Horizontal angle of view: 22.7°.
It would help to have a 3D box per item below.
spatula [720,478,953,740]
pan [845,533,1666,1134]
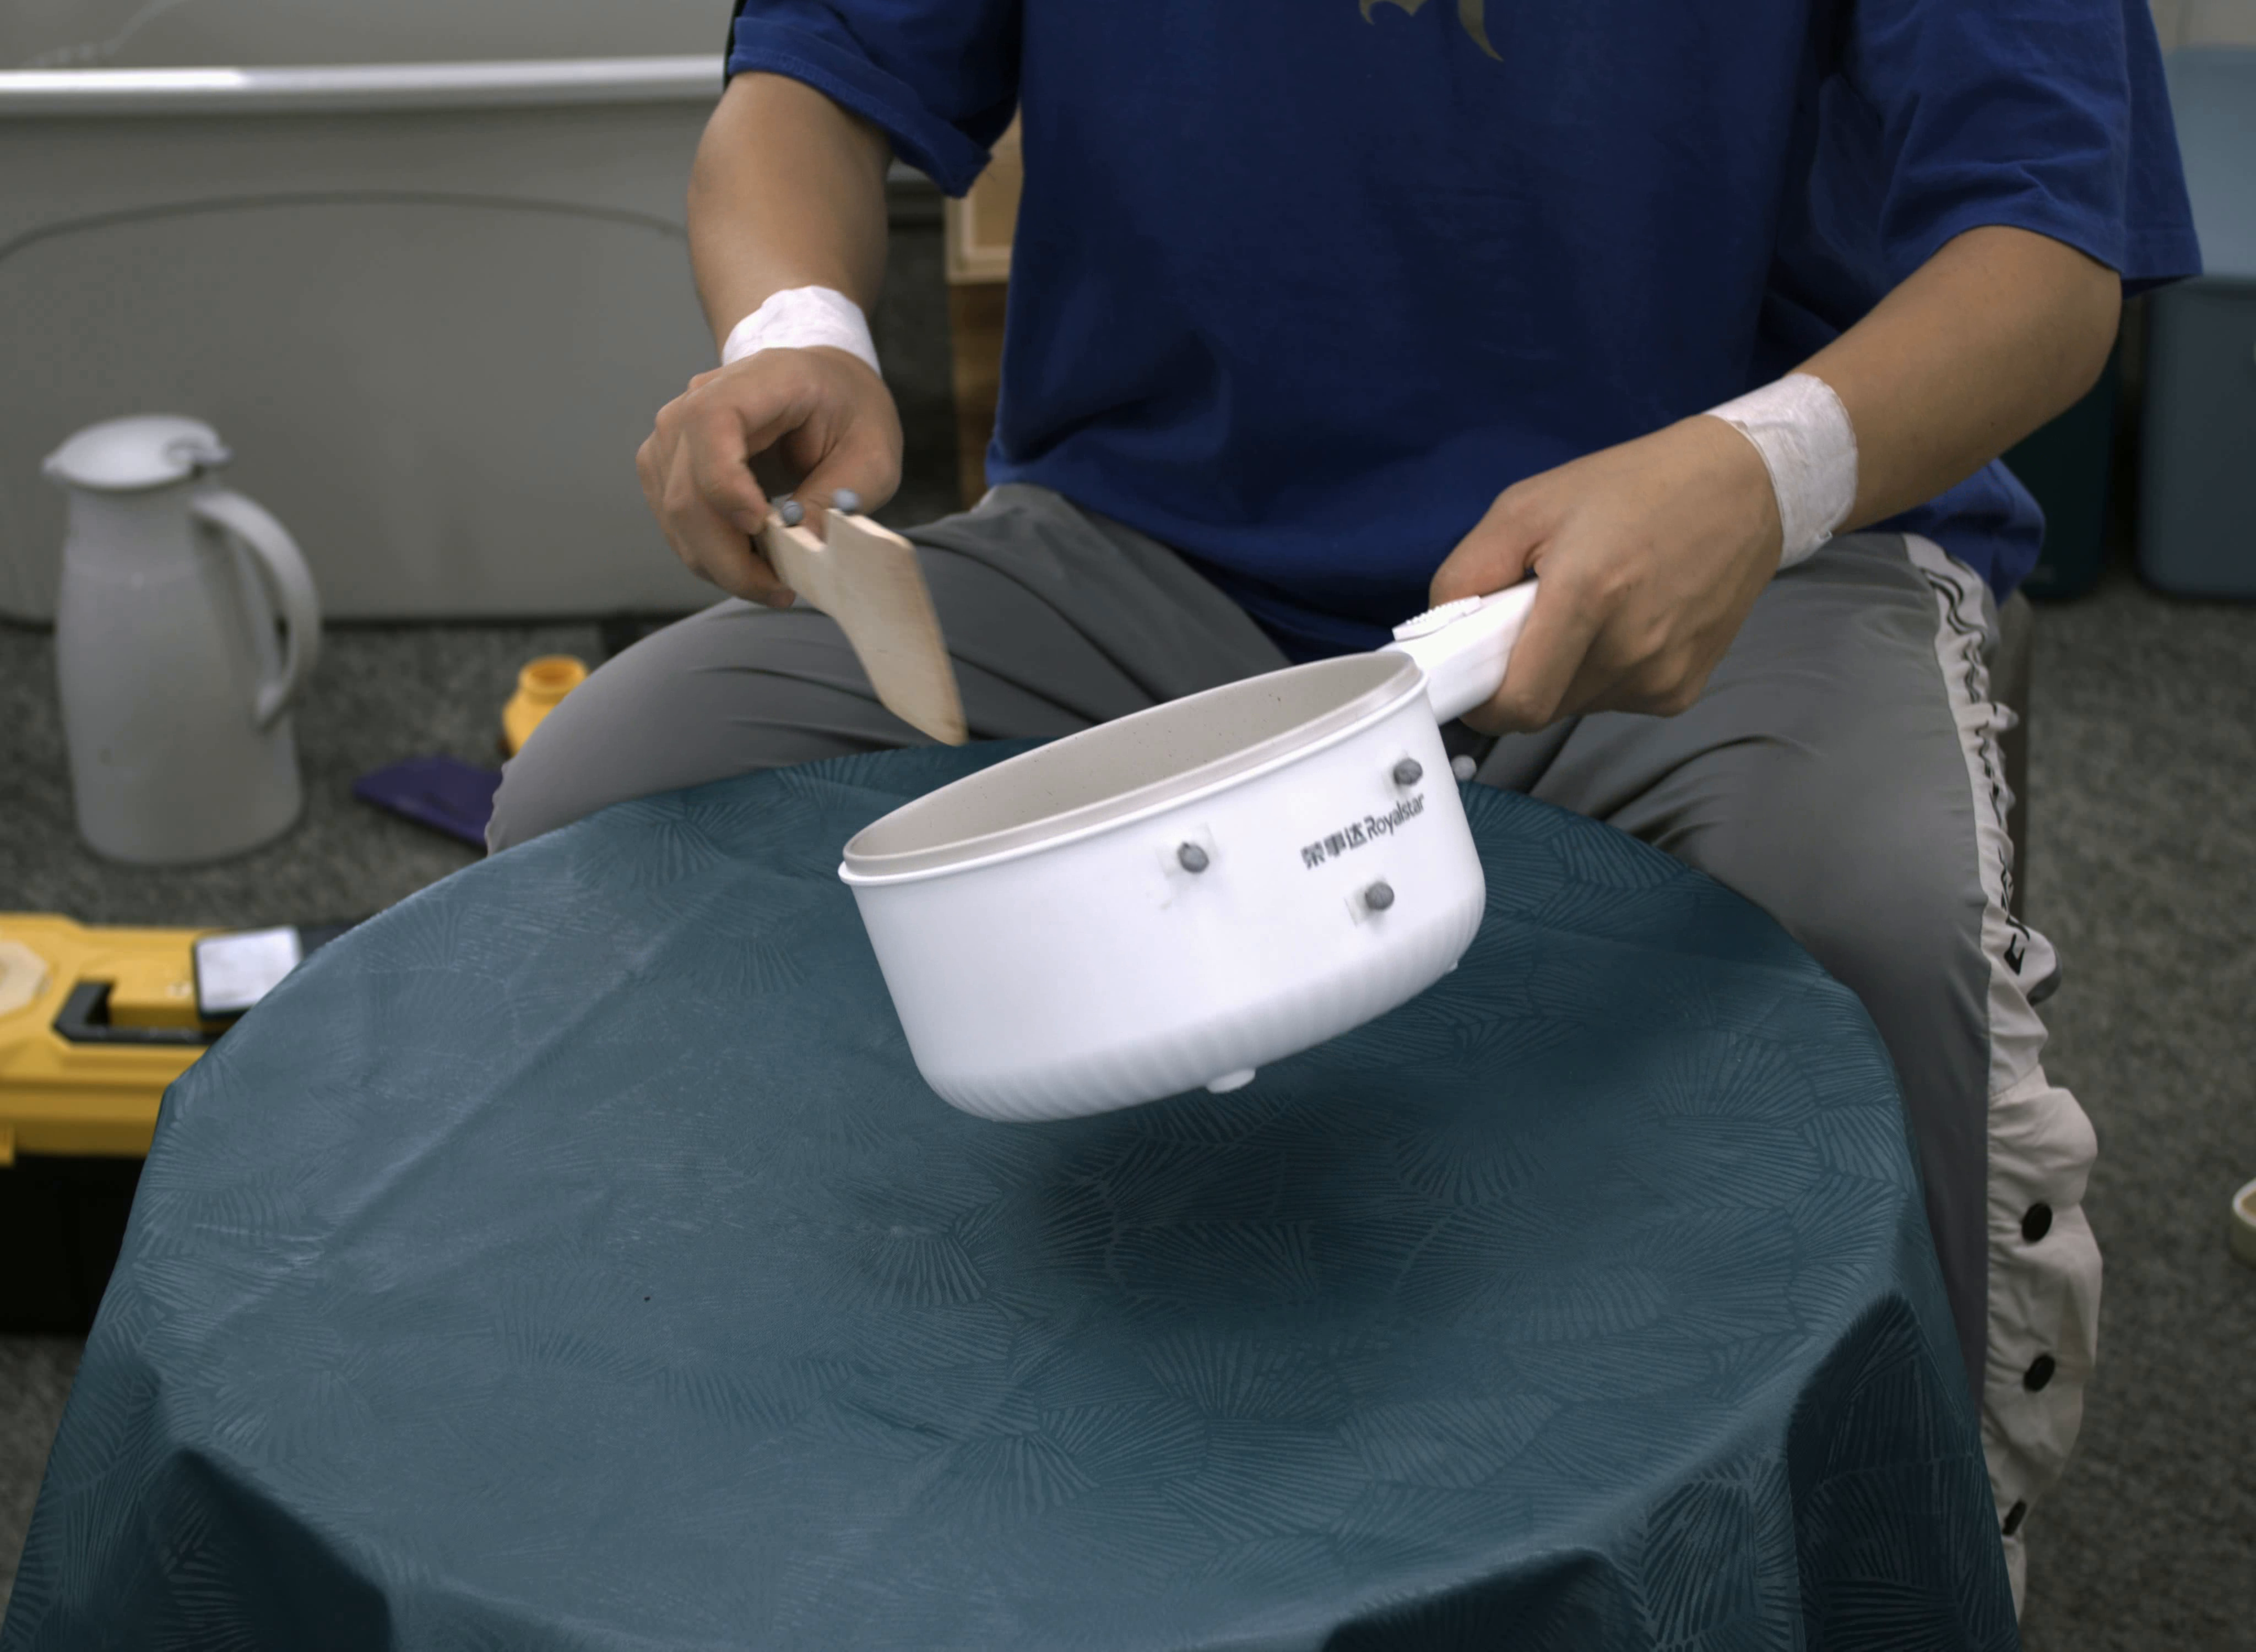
[{"bbox_3d":[-0.105,-0.086,1.892,0.010,0.072,0.294,-21,16,-10],"label":"spatula"},{"bbox_3d":[0.068,0.001,1.870,0.198,0.102,0.359,-14,9,46],"label":"pan"}]
